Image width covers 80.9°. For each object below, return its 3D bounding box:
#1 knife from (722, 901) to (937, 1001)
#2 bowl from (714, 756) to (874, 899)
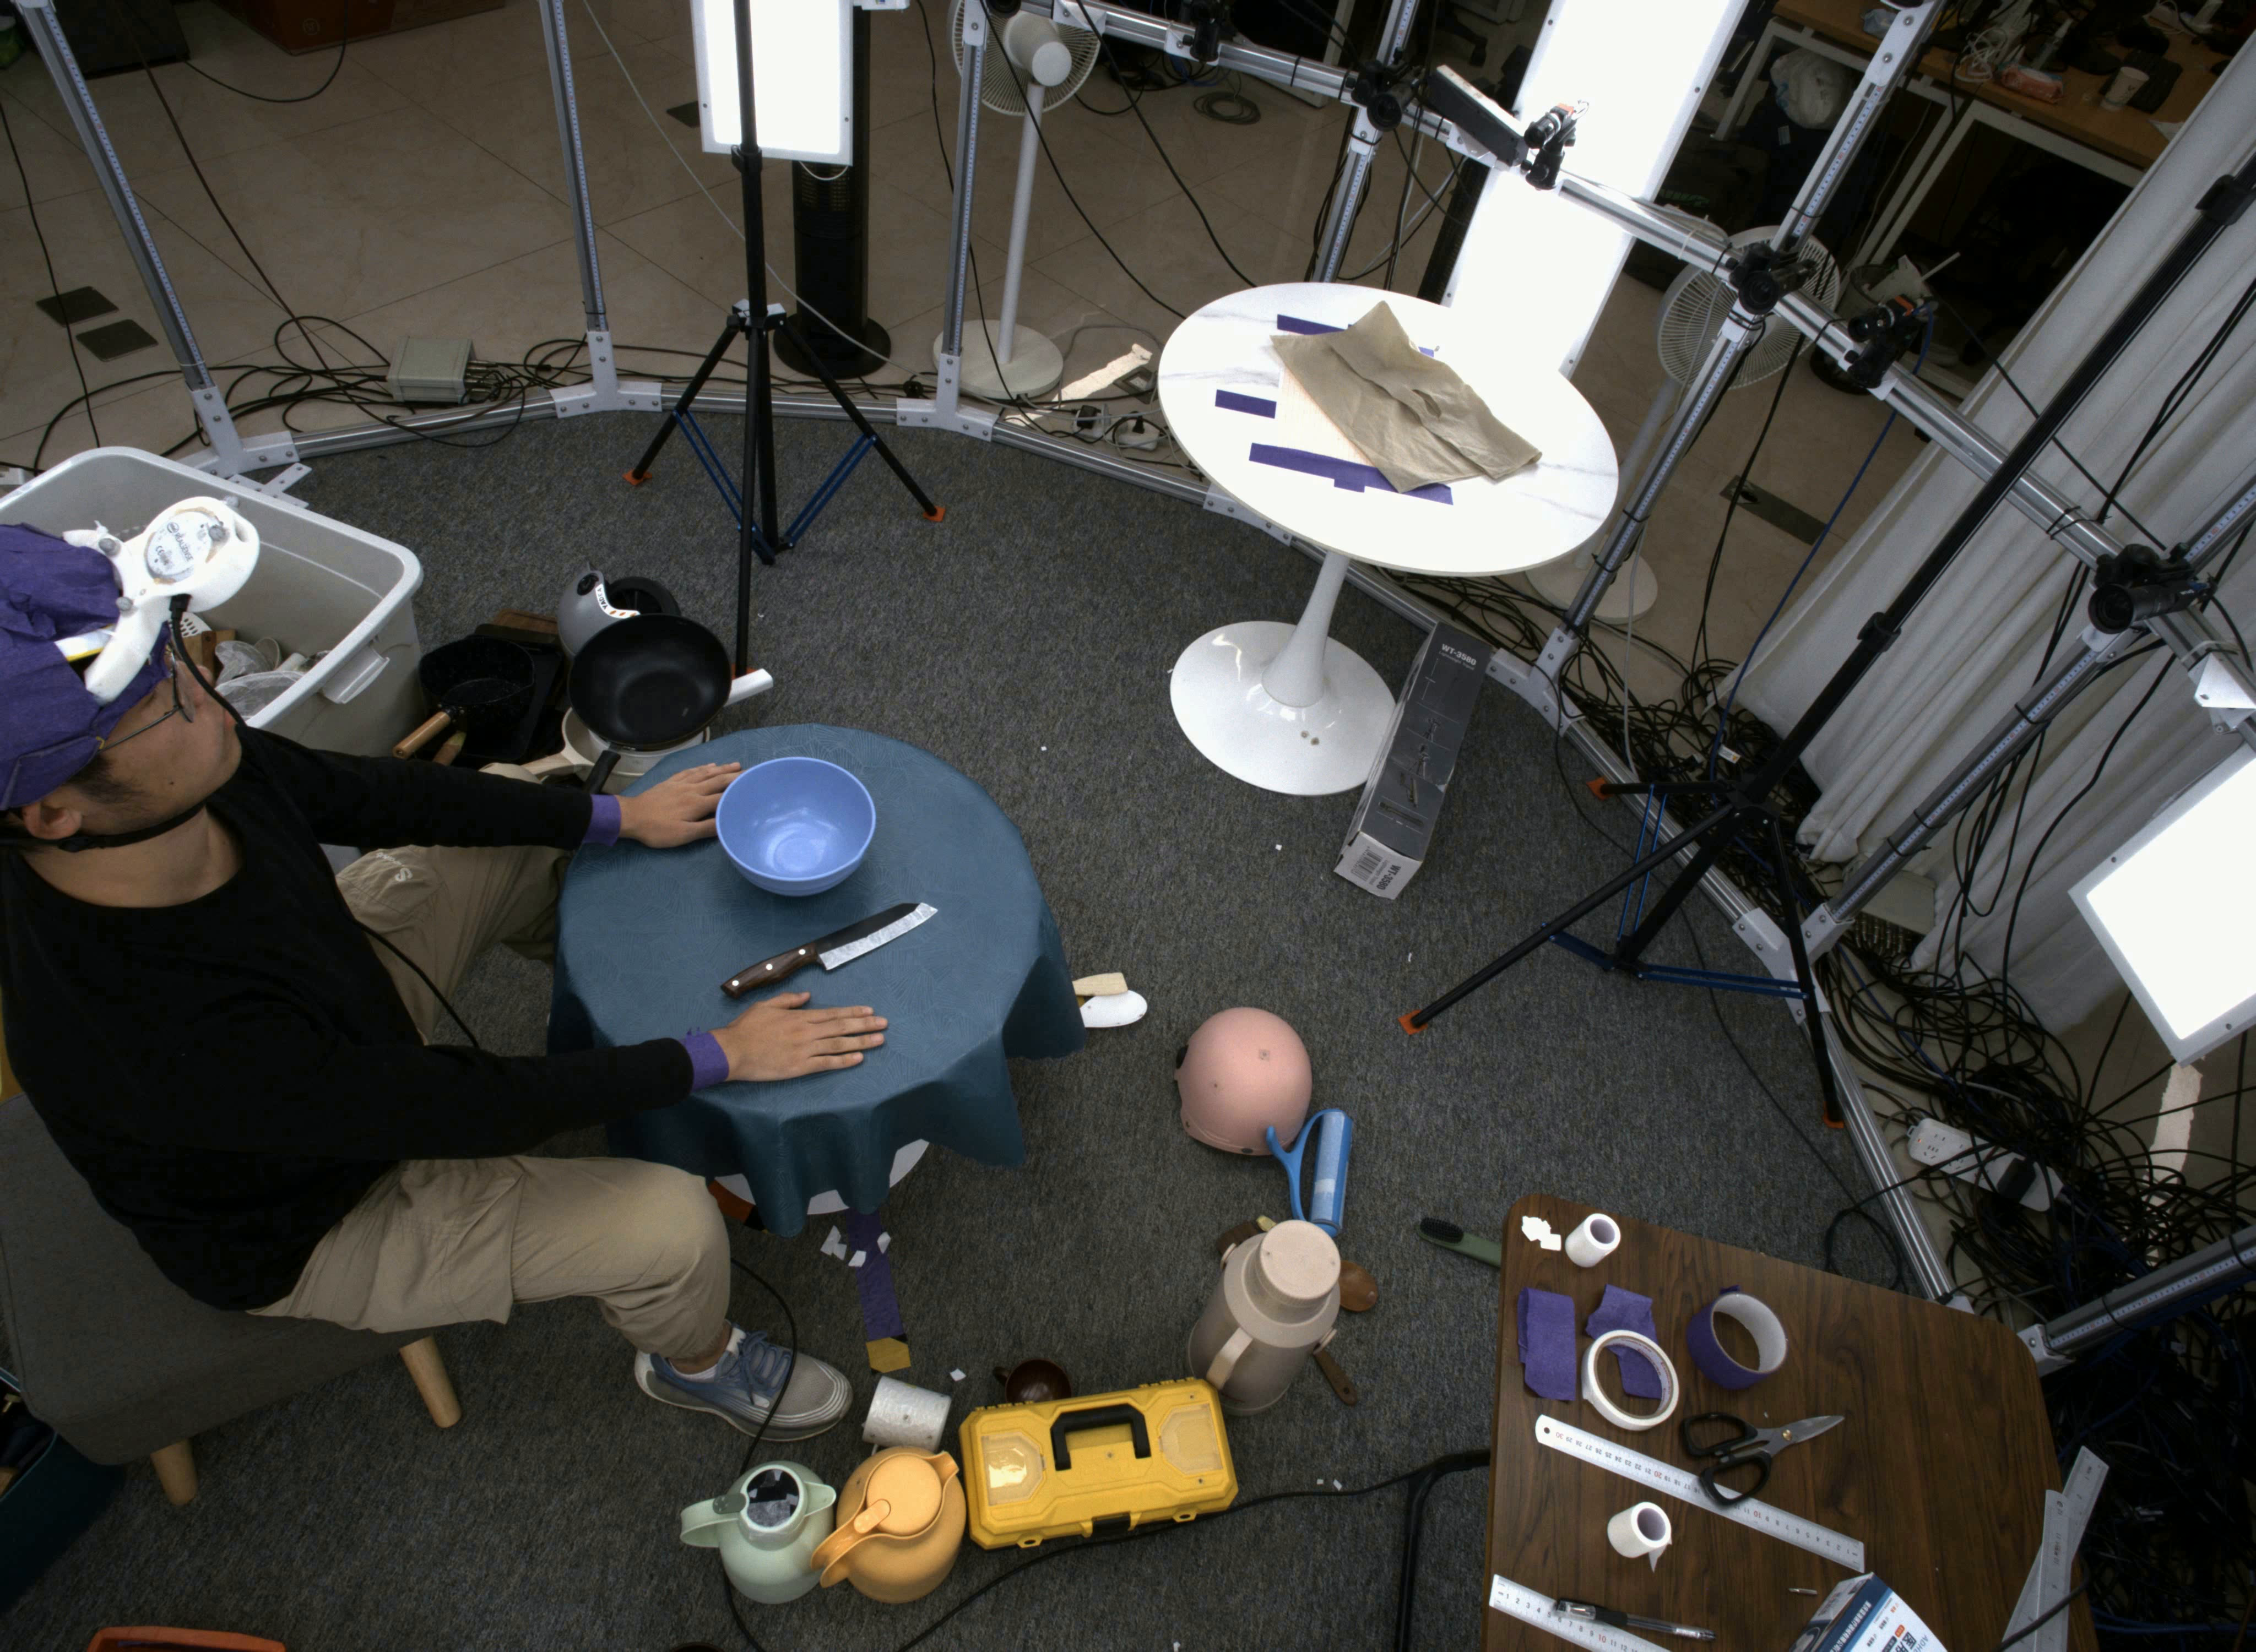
[{"bbox_3d":[-0.365,0.150,1.615,0.291,0.020,0.049,-22,66,-31],"label":"knife"},{"bbox_3d":[-0.422,0.016,1.652,0.196,0.097,0.193,7,54,-8],"label":"bowl"}]
